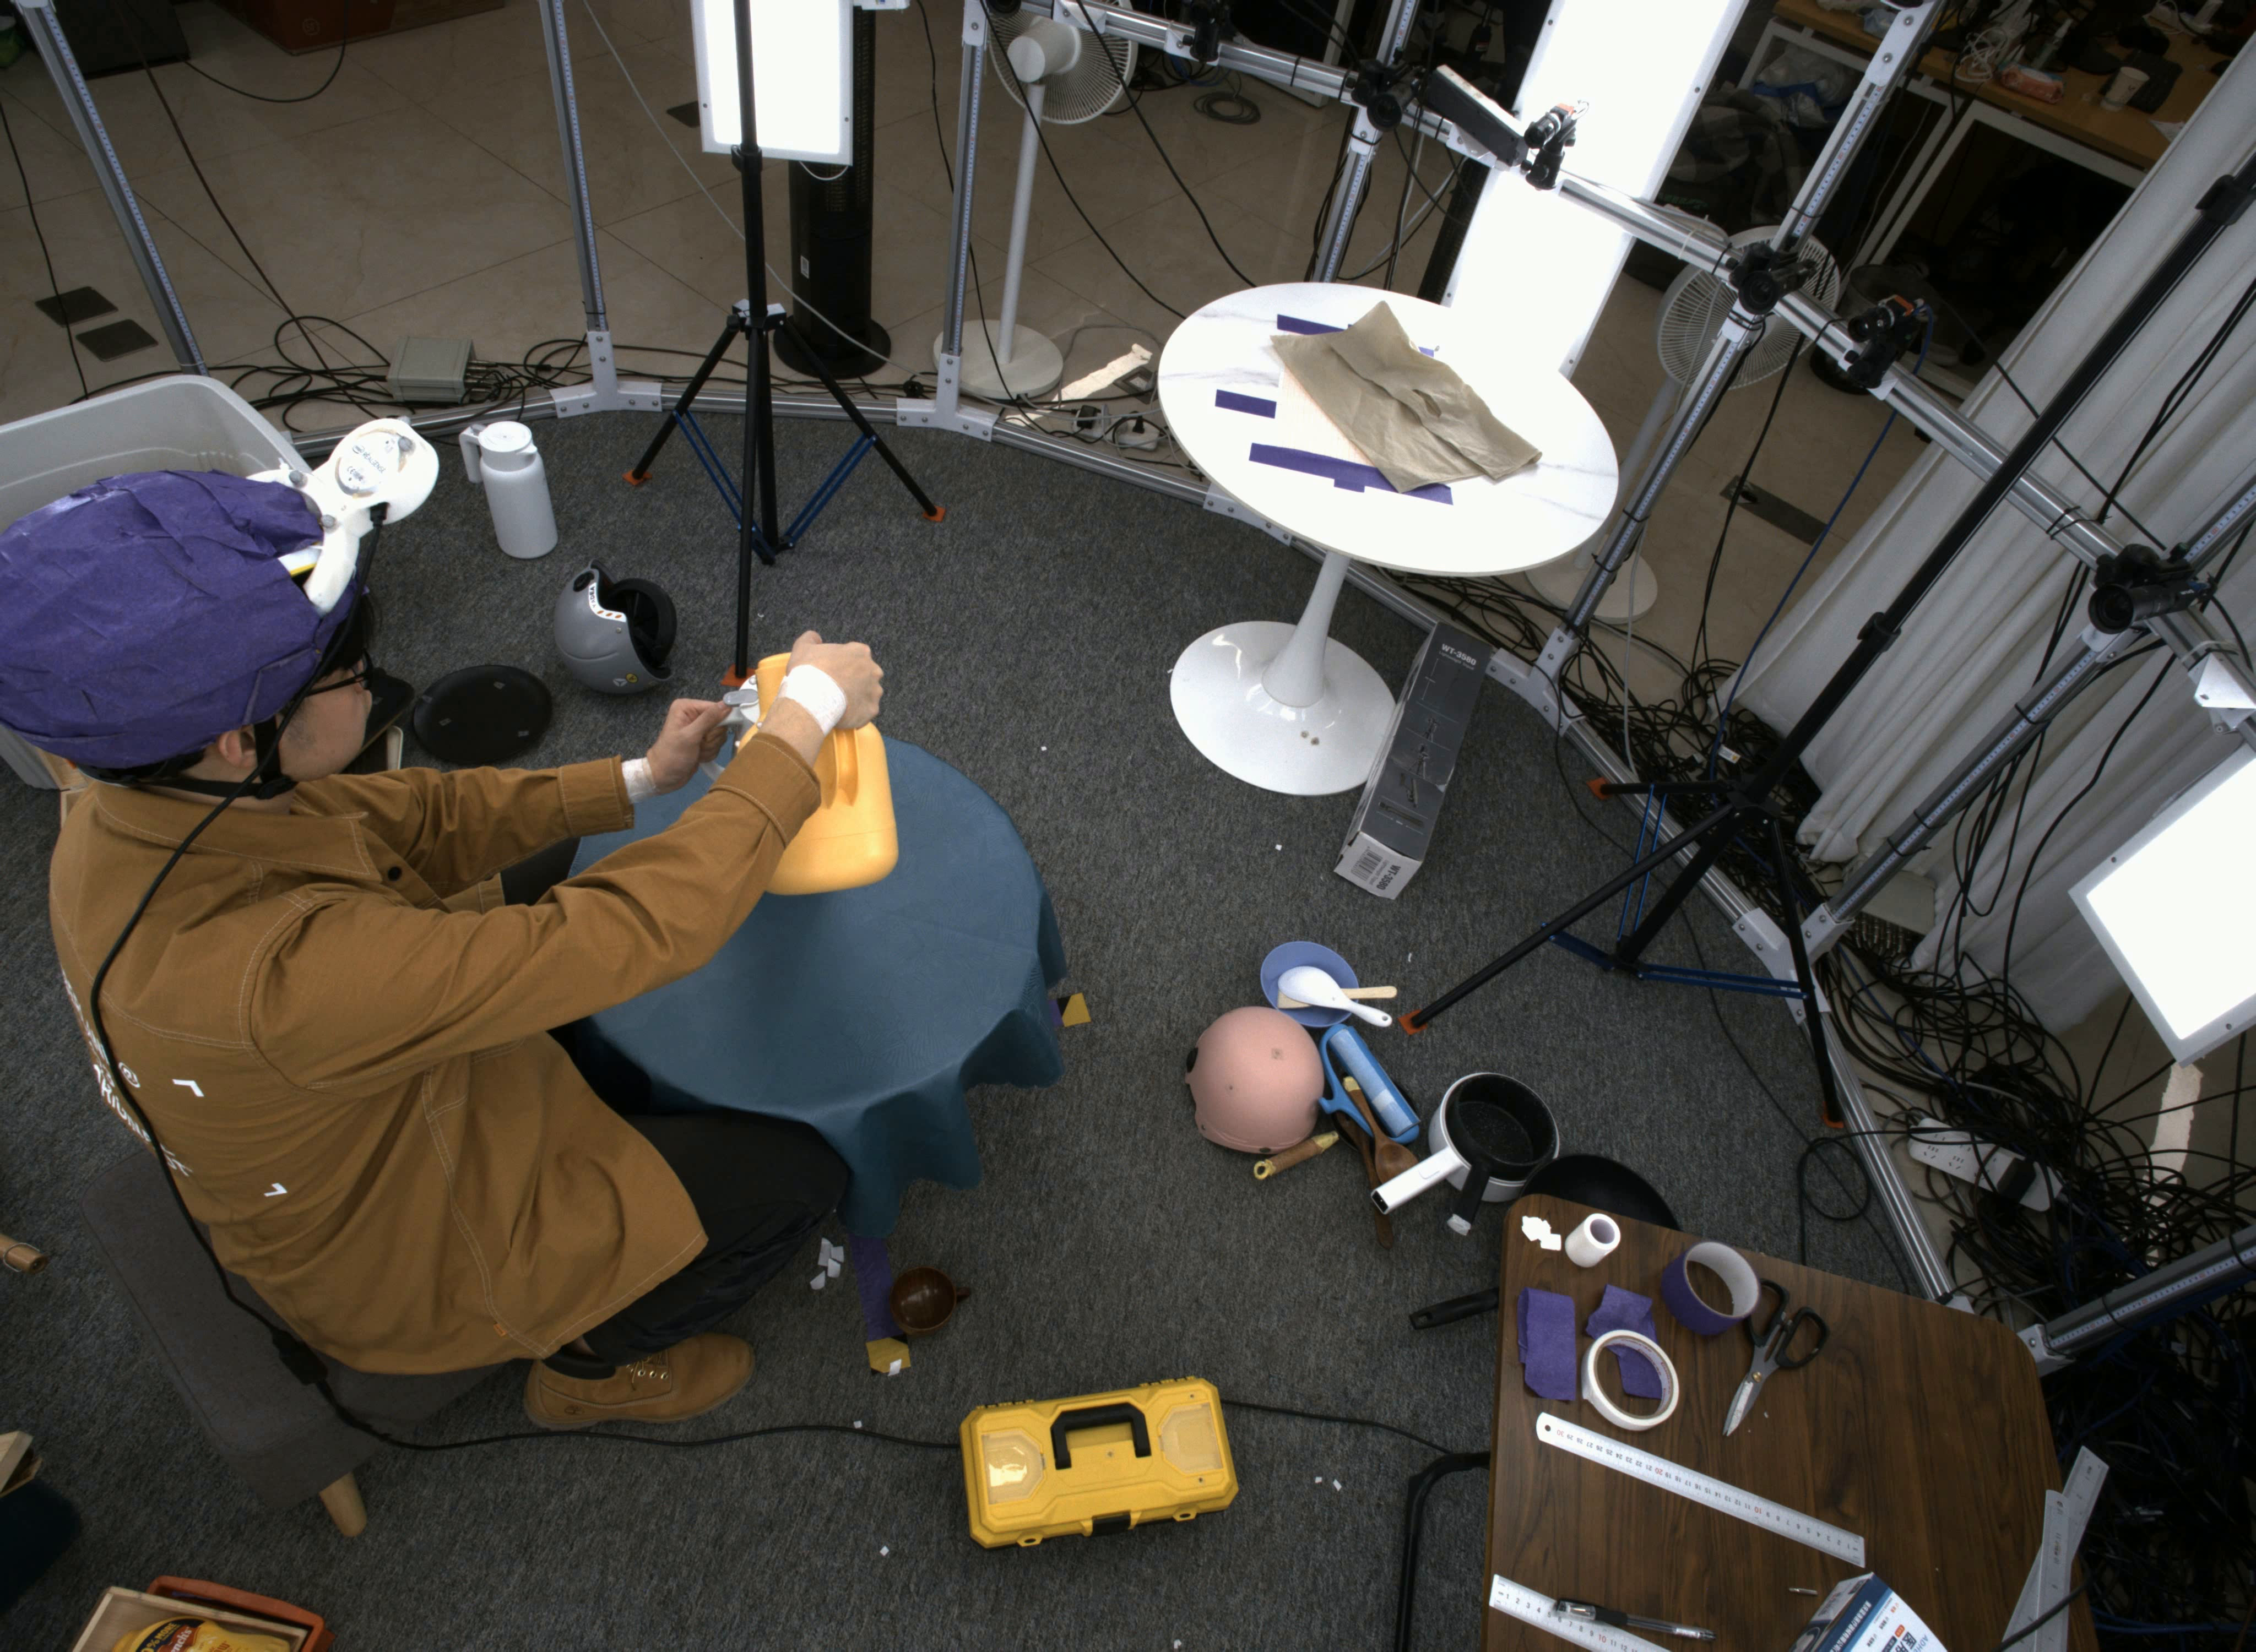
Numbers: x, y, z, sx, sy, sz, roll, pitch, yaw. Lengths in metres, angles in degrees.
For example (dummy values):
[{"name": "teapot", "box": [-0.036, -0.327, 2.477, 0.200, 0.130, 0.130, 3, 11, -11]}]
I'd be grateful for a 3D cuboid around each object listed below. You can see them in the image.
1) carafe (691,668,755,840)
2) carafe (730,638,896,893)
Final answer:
[{"name": "carafe", "box": [-0.444, -0.084, 1.580, 0.168, 0.254, 0.130, -3, 55, -12]}, {"name": "carafe", "box": [-0.338, -0.066, 1.378, 0.165, 0.197, 0.264, -10, 93, -28]}]
